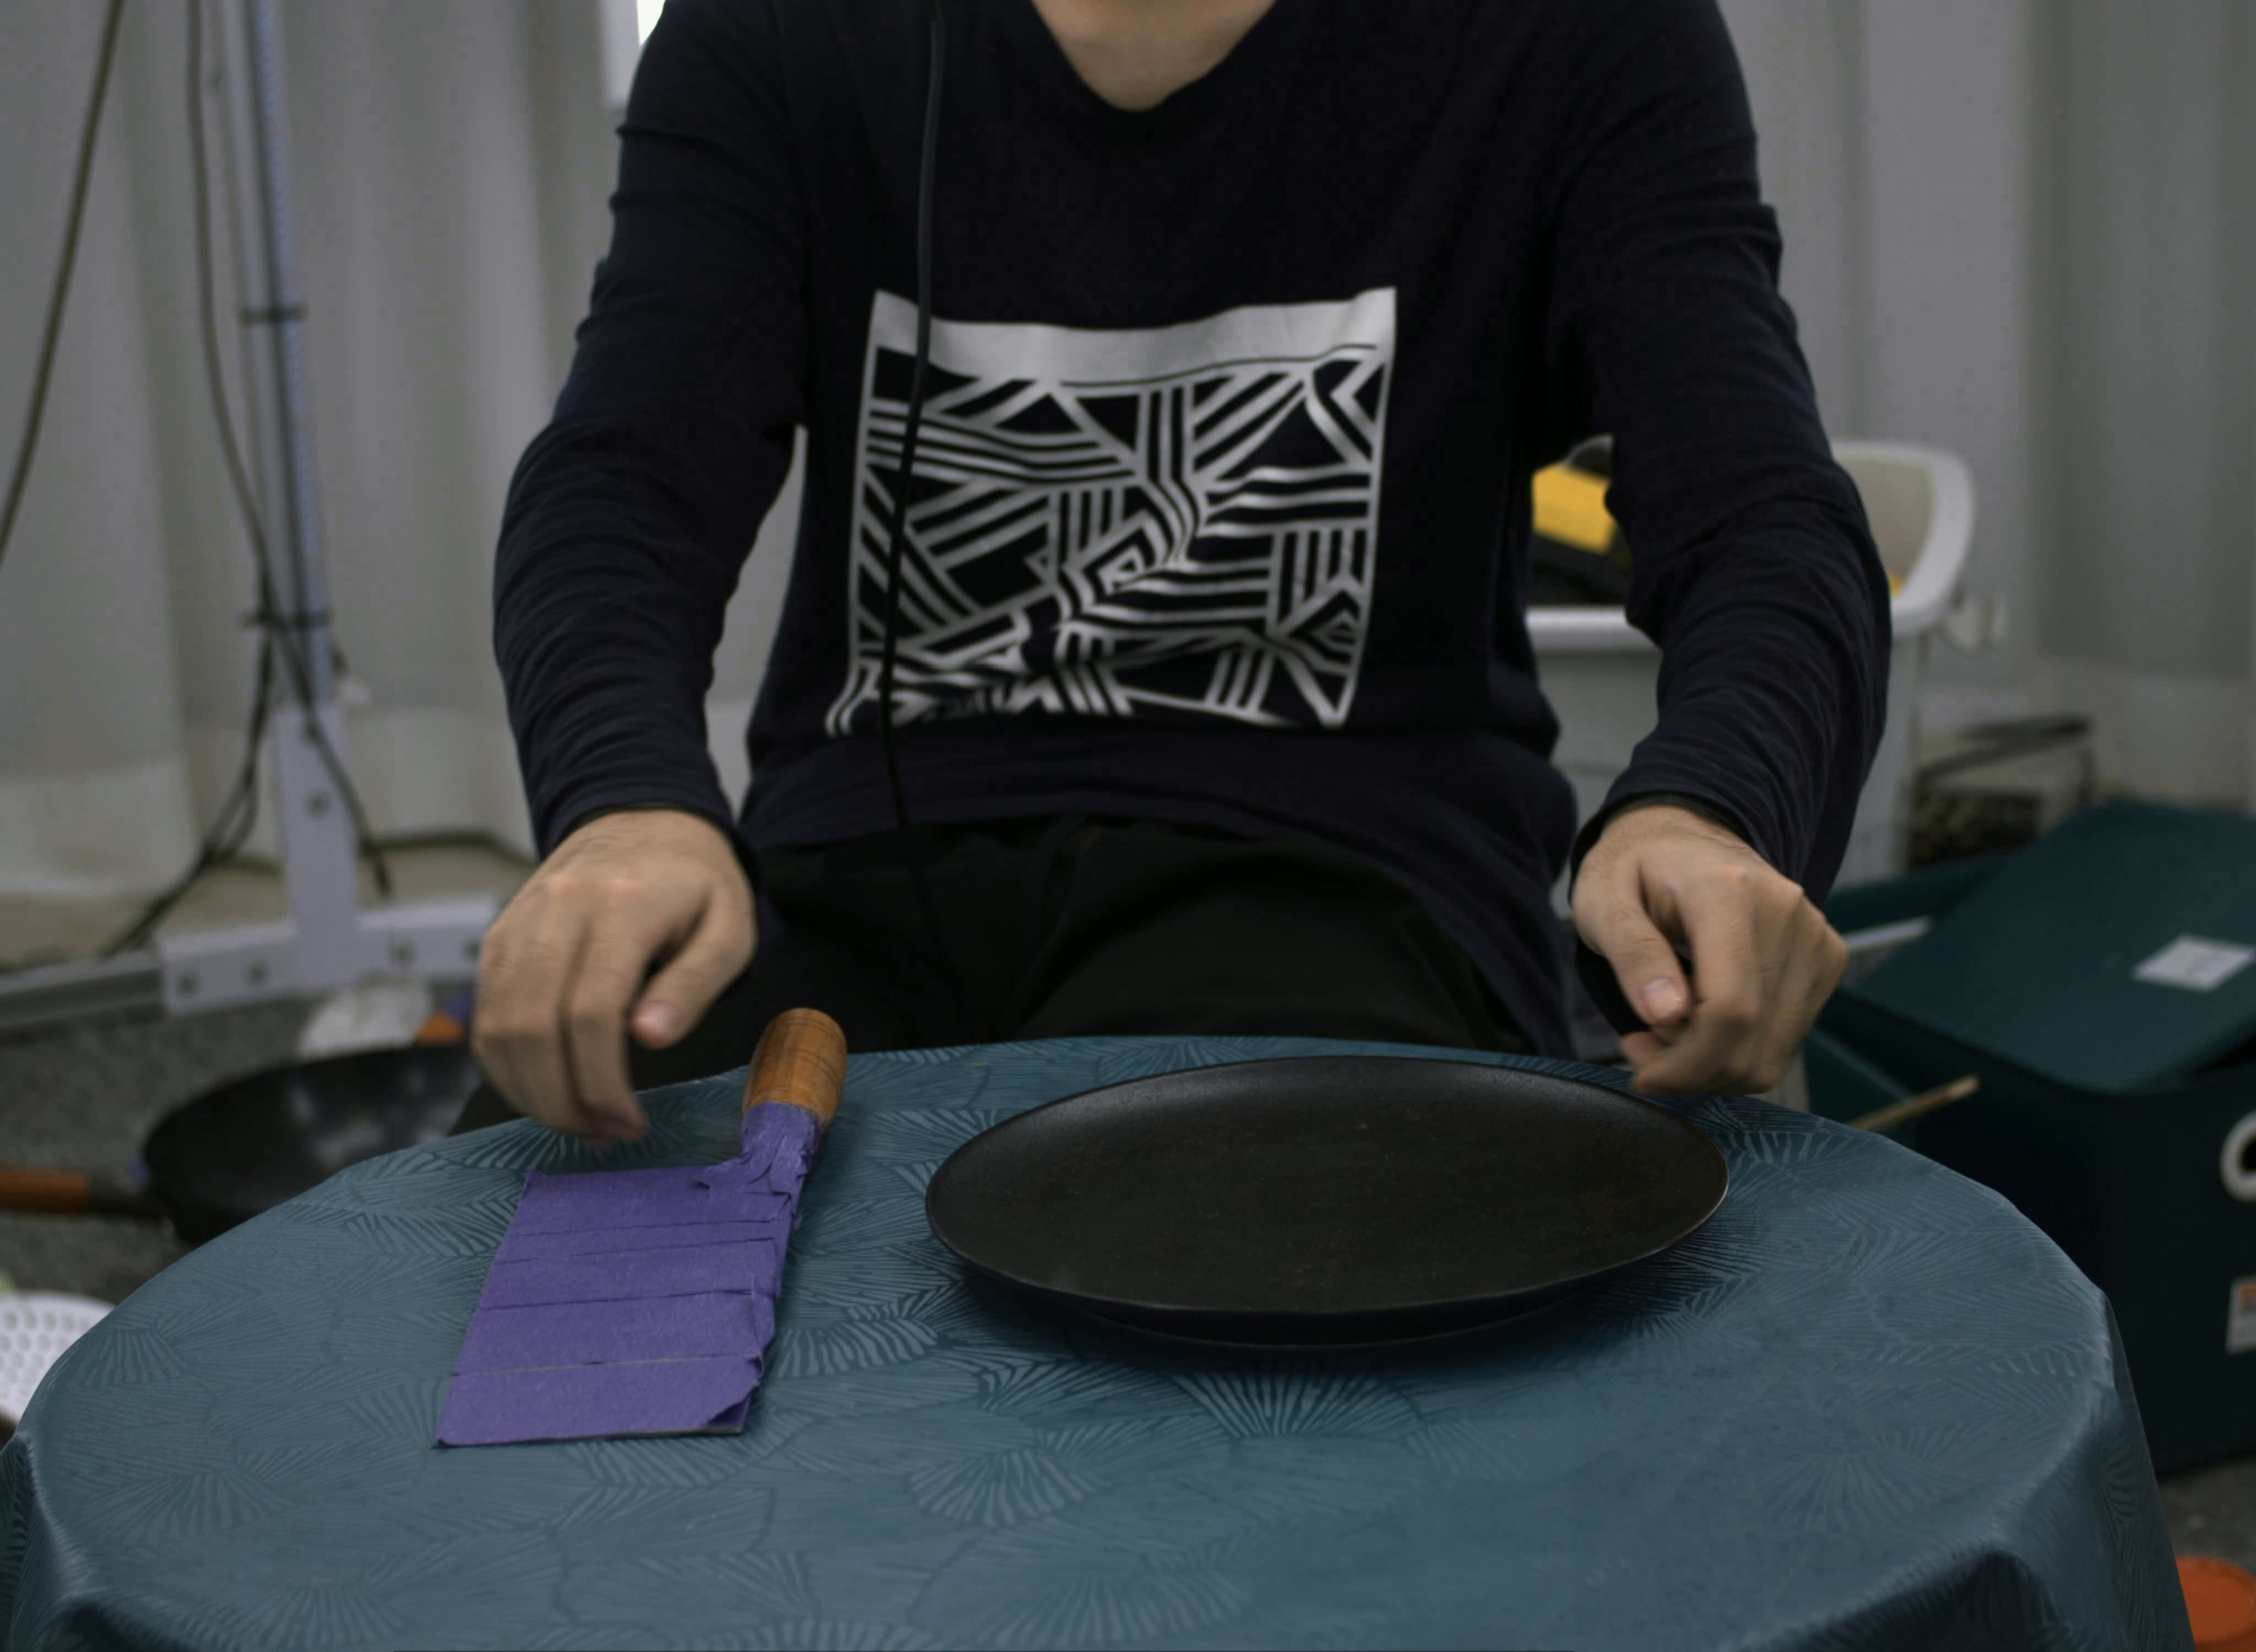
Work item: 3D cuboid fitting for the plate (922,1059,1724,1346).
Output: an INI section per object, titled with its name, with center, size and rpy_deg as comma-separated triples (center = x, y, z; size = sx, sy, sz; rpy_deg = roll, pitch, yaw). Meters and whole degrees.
[plate]
center = 0.059, 0.116, 1.658
size = 0.243, 0.023, 0.246
rpy_deg = -3, 15, 0

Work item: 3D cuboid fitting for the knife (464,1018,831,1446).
[knife]
center = -0.145, 0.120, 1.672
size = 0.103, 0.032, 0.317
rpy_deg = -2, 15, 2
